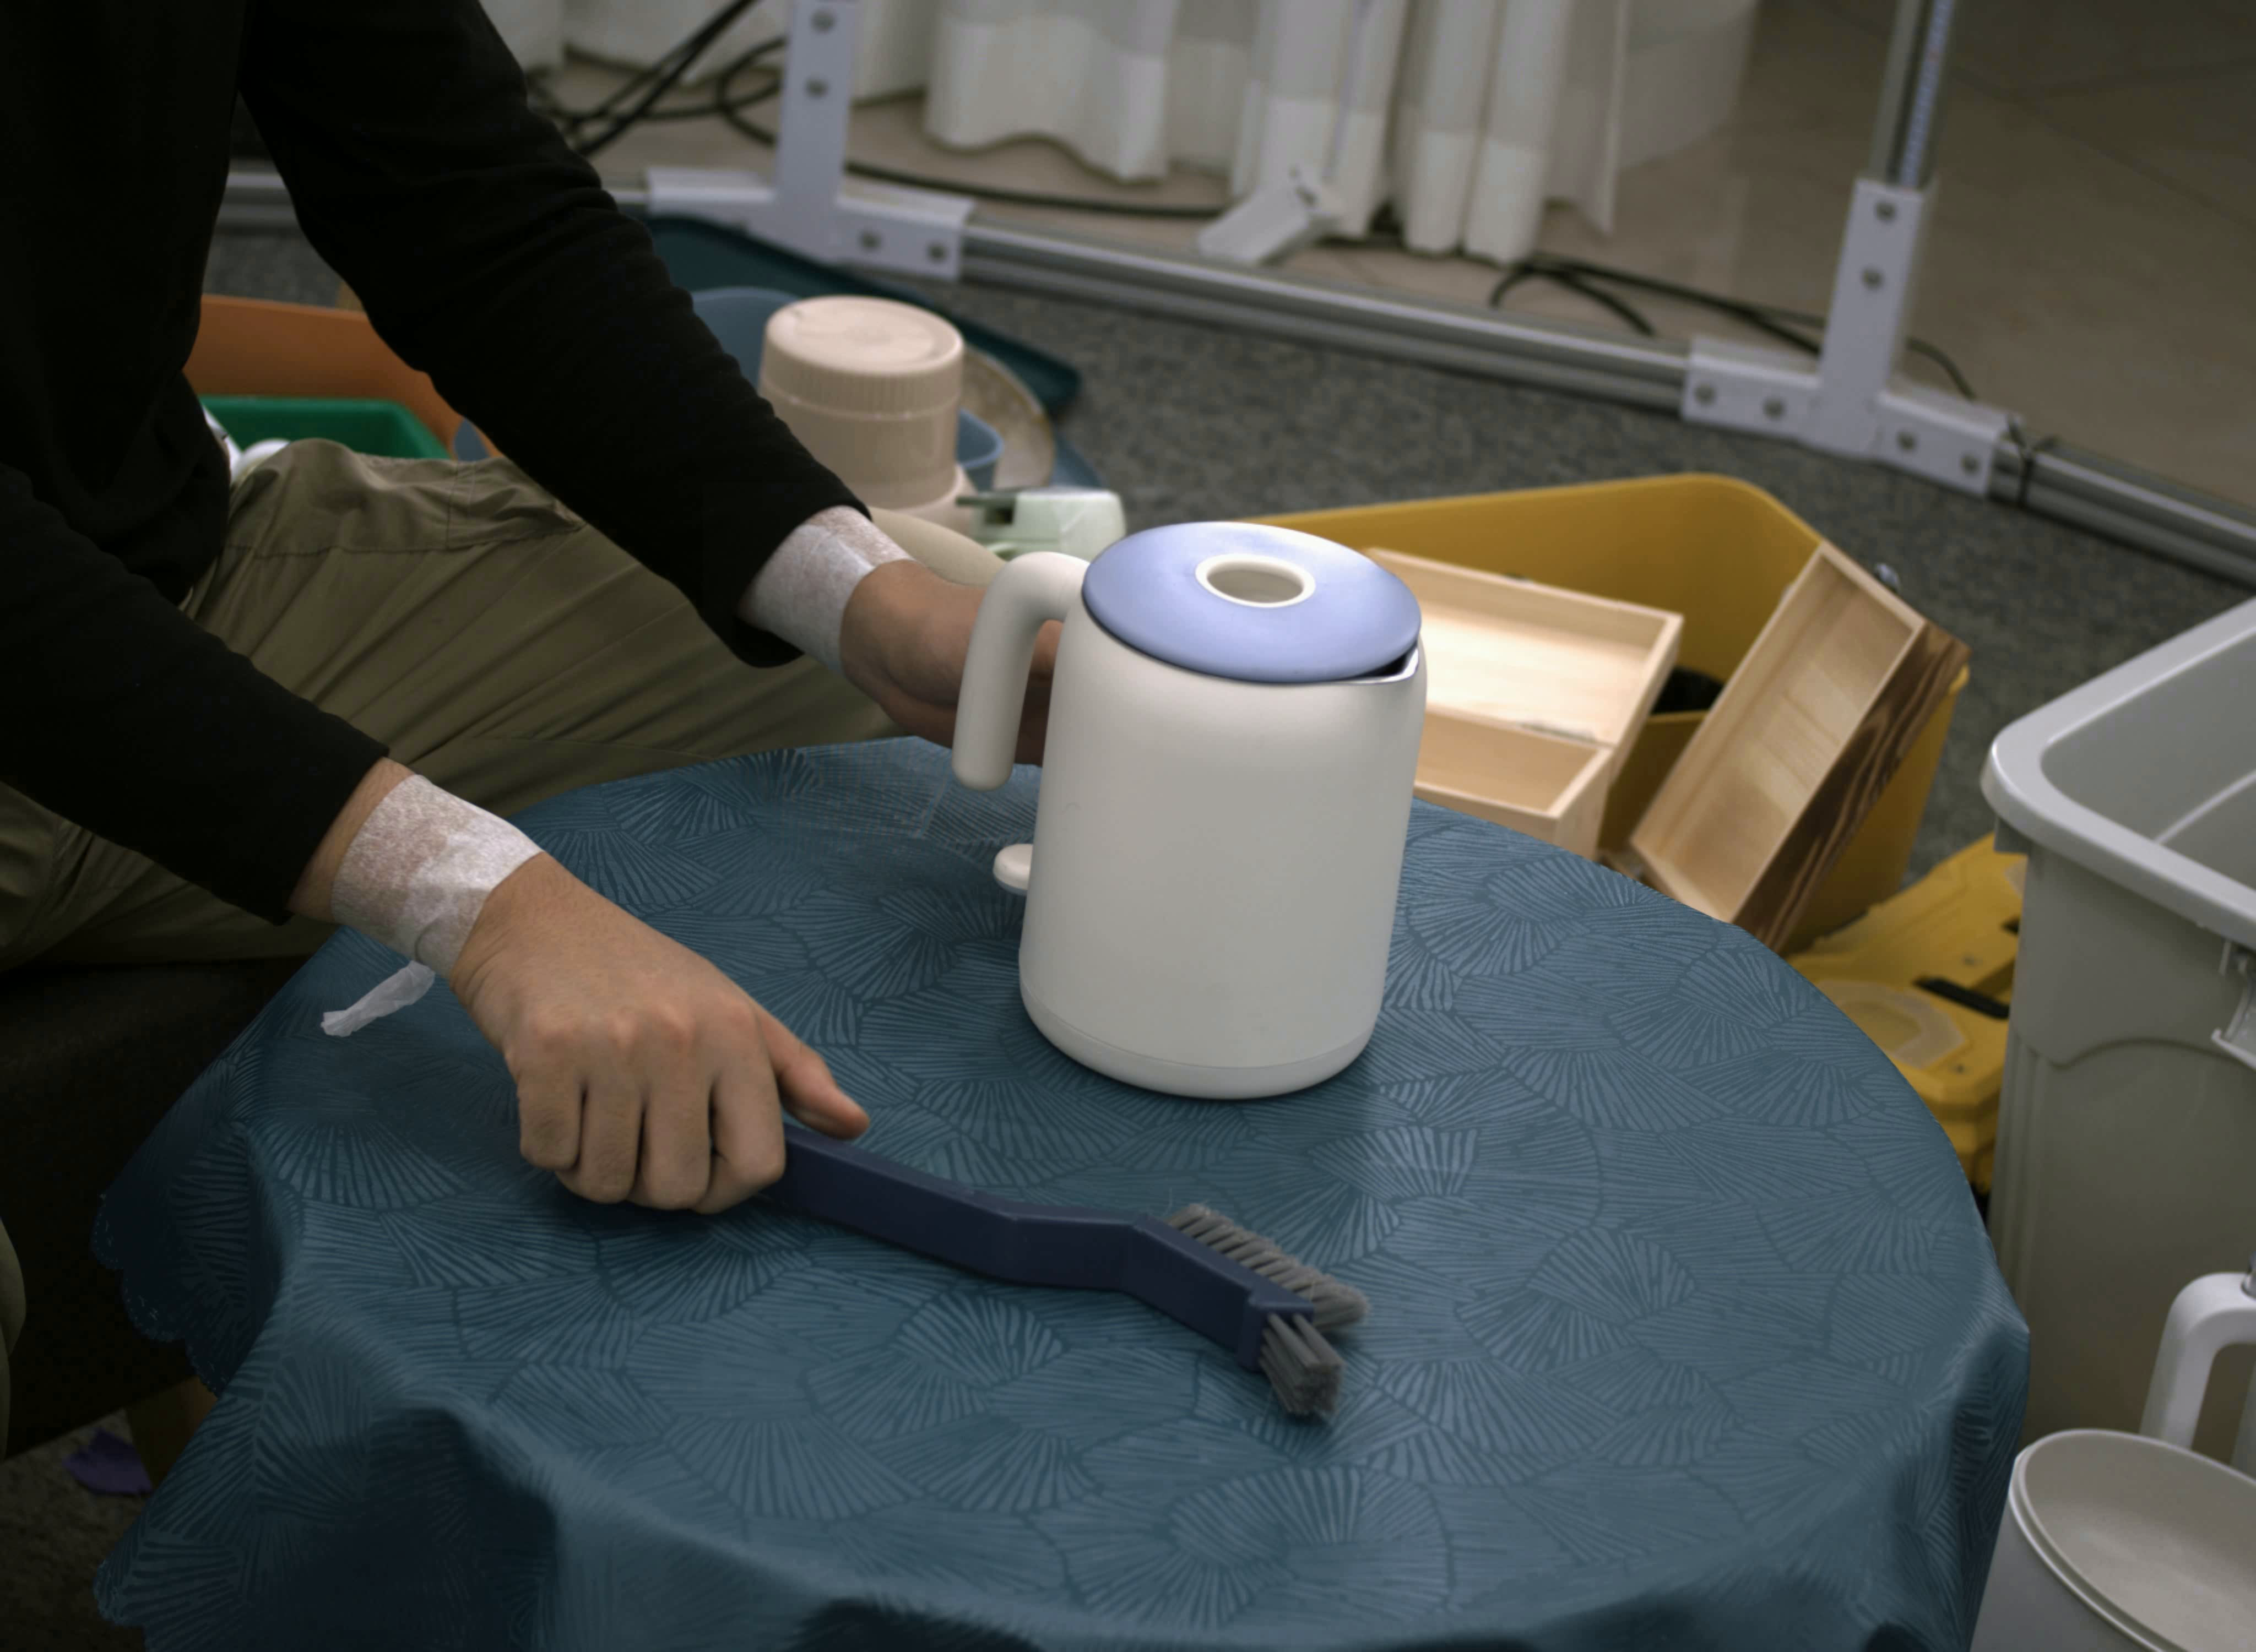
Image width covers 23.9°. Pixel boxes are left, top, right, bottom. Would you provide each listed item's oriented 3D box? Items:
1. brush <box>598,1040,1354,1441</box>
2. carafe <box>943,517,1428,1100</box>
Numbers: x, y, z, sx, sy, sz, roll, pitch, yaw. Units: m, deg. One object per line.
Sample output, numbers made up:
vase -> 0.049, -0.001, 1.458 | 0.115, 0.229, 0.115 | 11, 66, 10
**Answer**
brush -> -0.058, 0.132, 1.740 | 0.273, 0.033, 0.096 | 14, 30, 13
carafe -> 0.014, -0.015, 1.889 | 0.192, 0.182, 0.132 | 22, 30, 31
